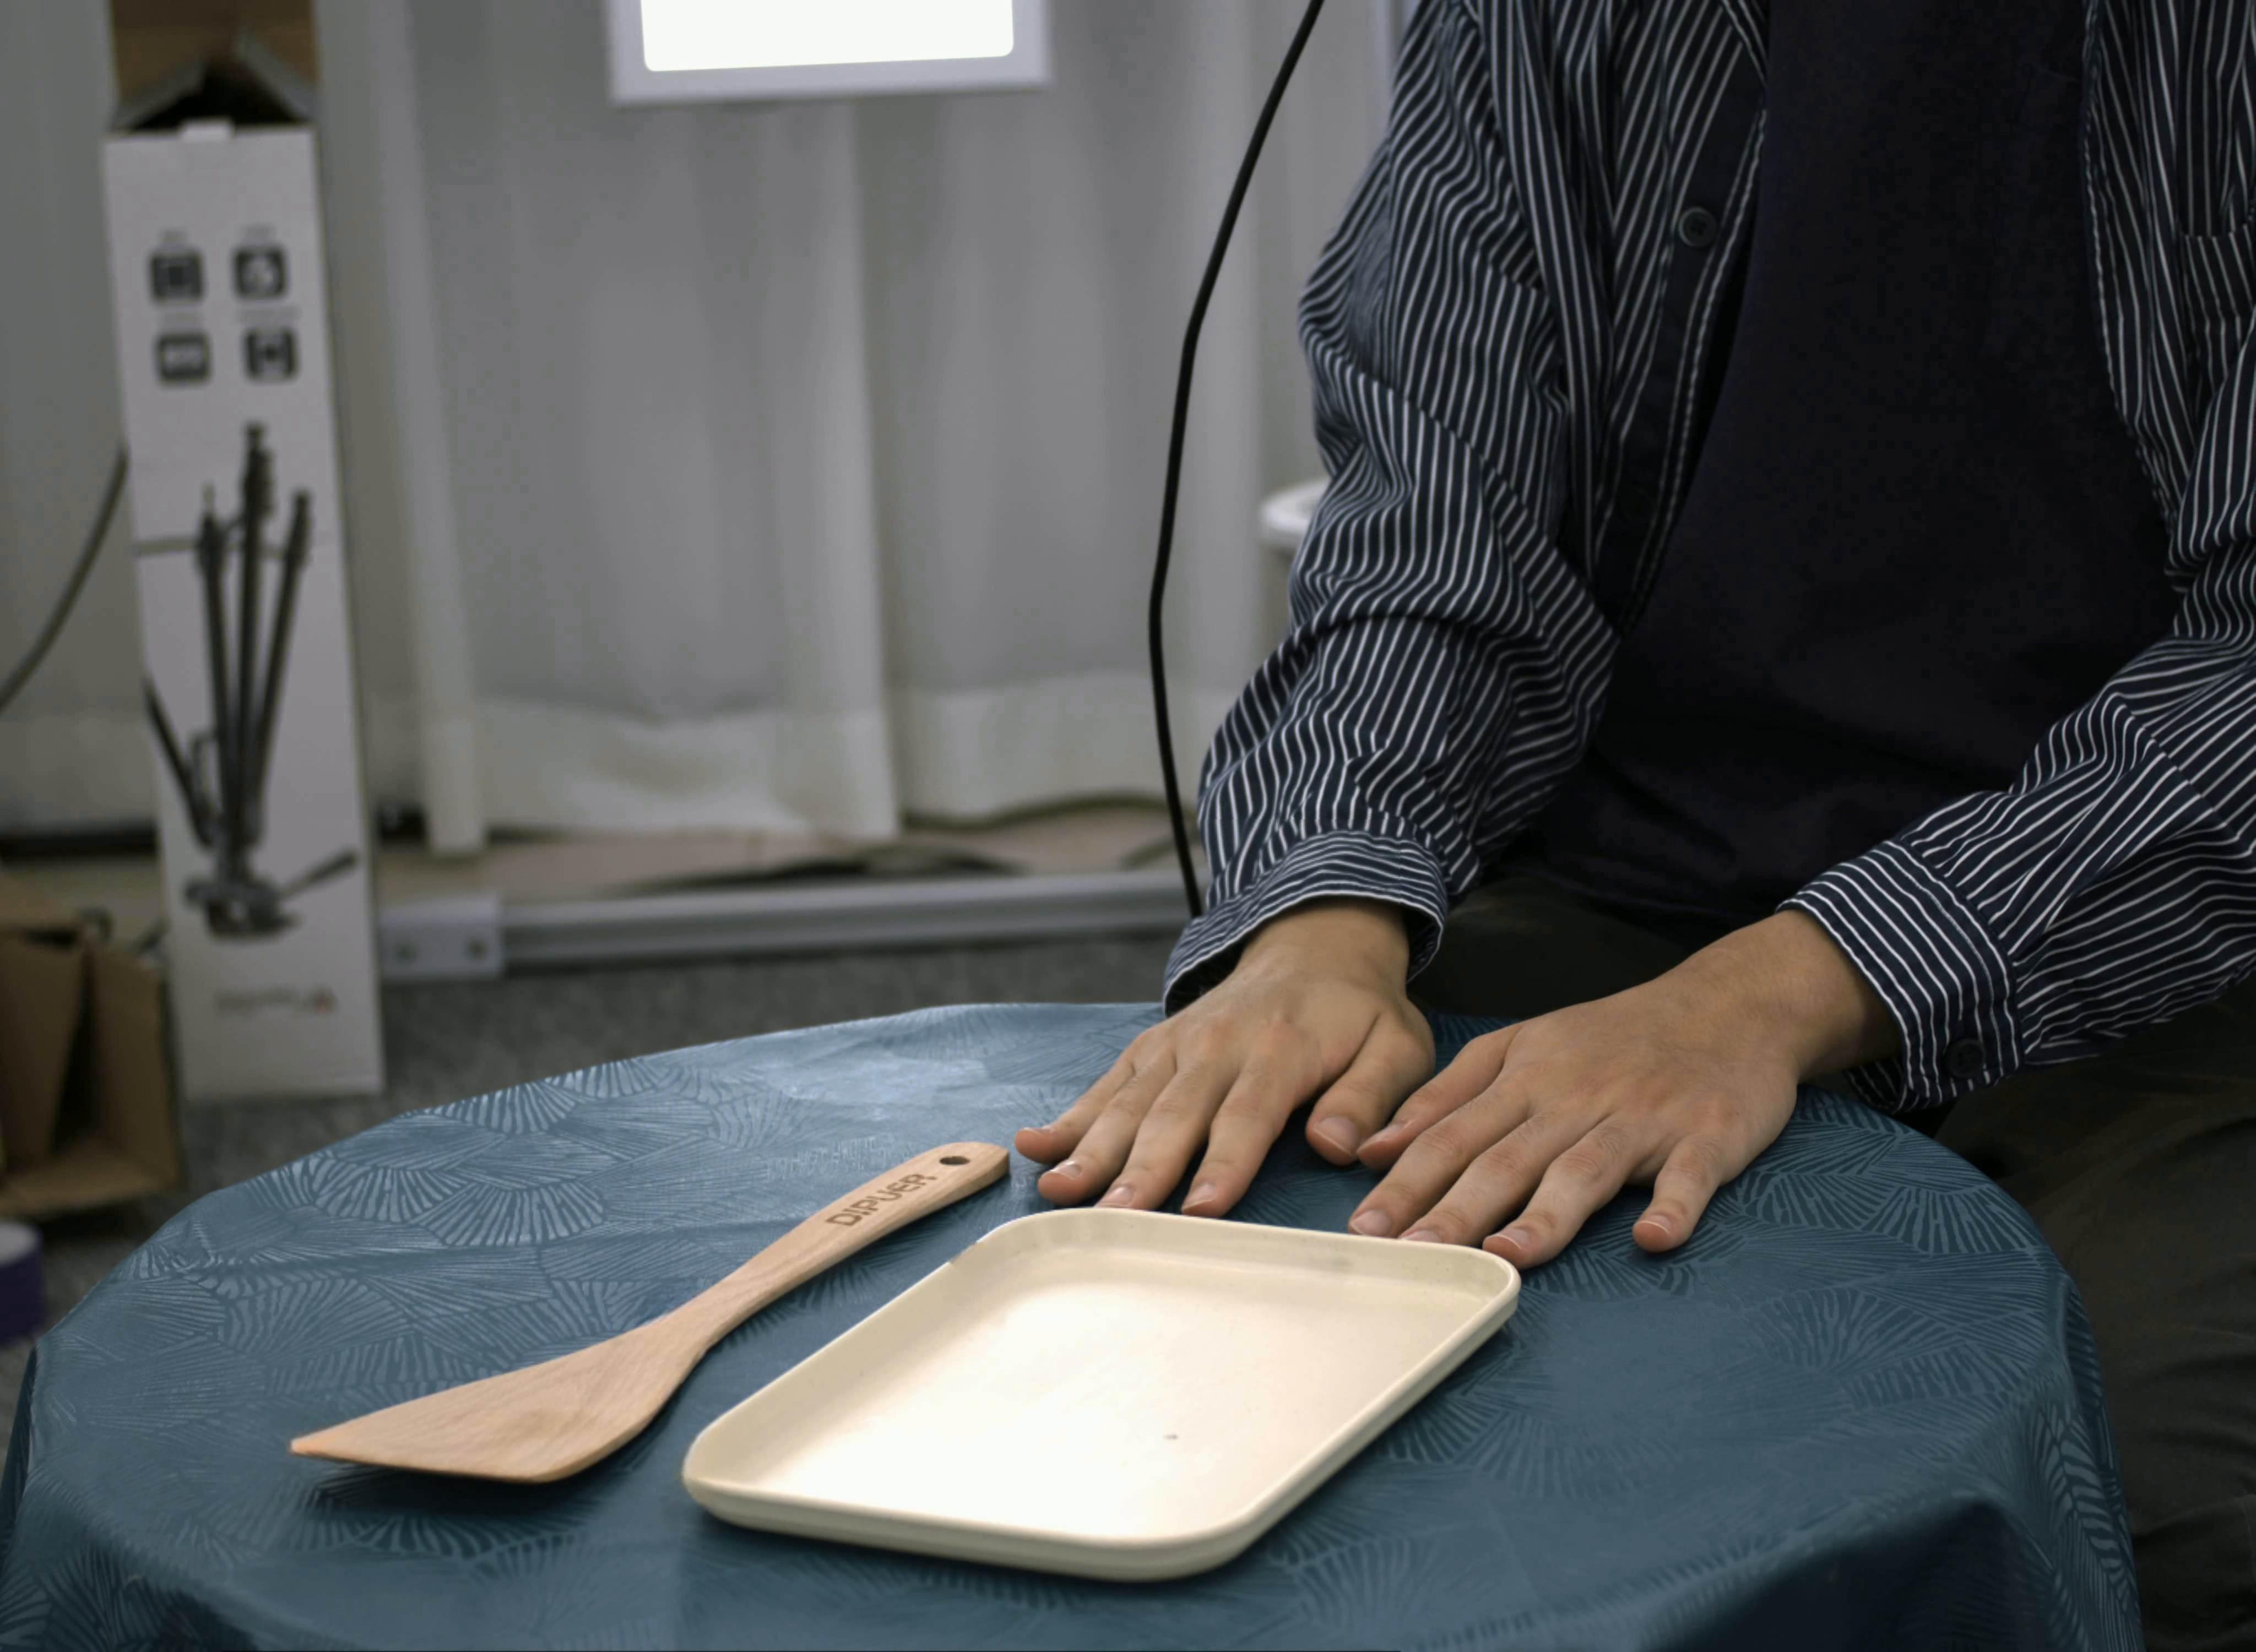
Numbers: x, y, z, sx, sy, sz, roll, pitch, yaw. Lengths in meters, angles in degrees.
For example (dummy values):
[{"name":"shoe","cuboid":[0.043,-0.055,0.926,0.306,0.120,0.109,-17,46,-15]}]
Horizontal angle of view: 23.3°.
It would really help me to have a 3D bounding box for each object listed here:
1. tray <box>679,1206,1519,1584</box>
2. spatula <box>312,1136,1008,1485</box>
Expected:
[{"name":"tray","cuboid":[-0.004,0.157,1.525,0.171,0.017,0.240,5,17,26]},{"name":"spatula","cuboid":[-0.118,0.139,1.615,0.080,0.016,0.328,5,17,26]}]
